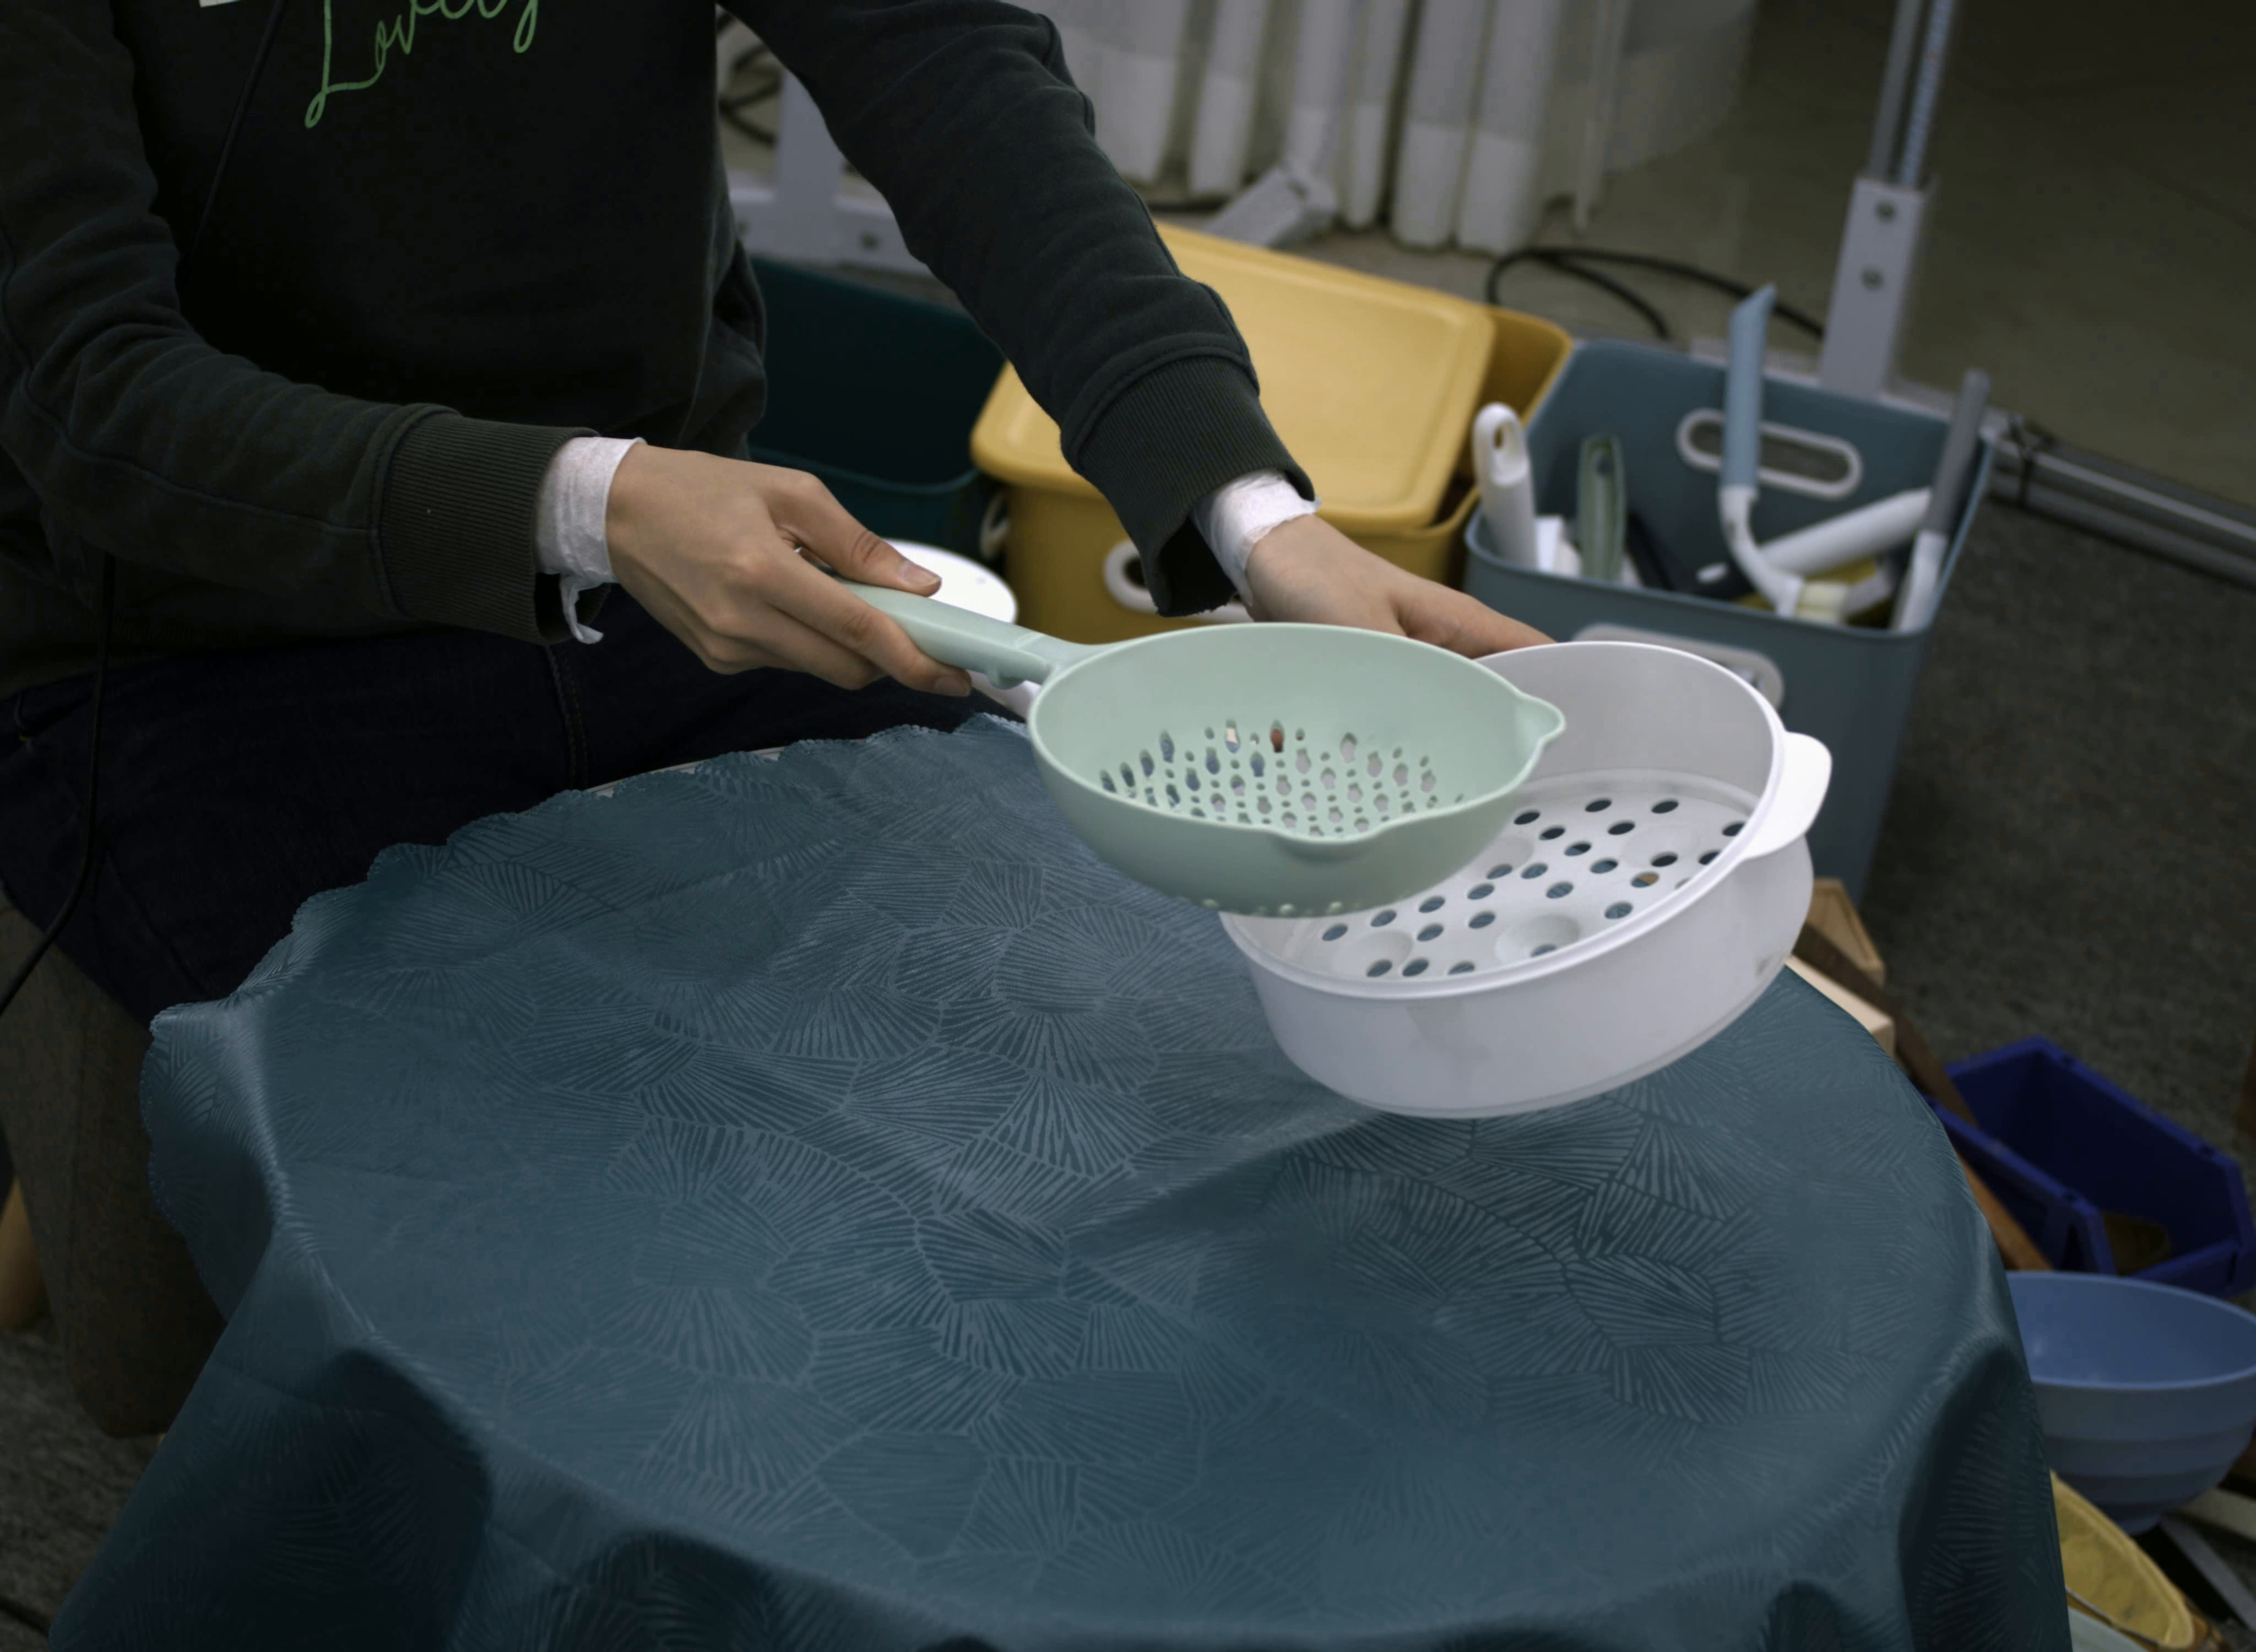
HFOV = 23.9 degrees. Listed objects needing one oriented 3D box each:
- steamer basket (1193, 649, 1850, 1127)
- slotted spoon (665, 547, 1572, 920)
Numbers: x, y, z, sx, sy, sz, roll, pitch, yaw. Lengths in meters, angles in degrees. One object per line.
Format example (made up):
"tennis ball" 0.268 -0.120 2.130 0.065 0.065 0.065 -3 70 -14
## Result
"steamer basket" 0.138 0.021 1.802 0.231 0.069 0.202 -6 32 24
"slotted spoon" -0.023 -0.048 1.810 0.361 0.075 0.169 26 33 31
